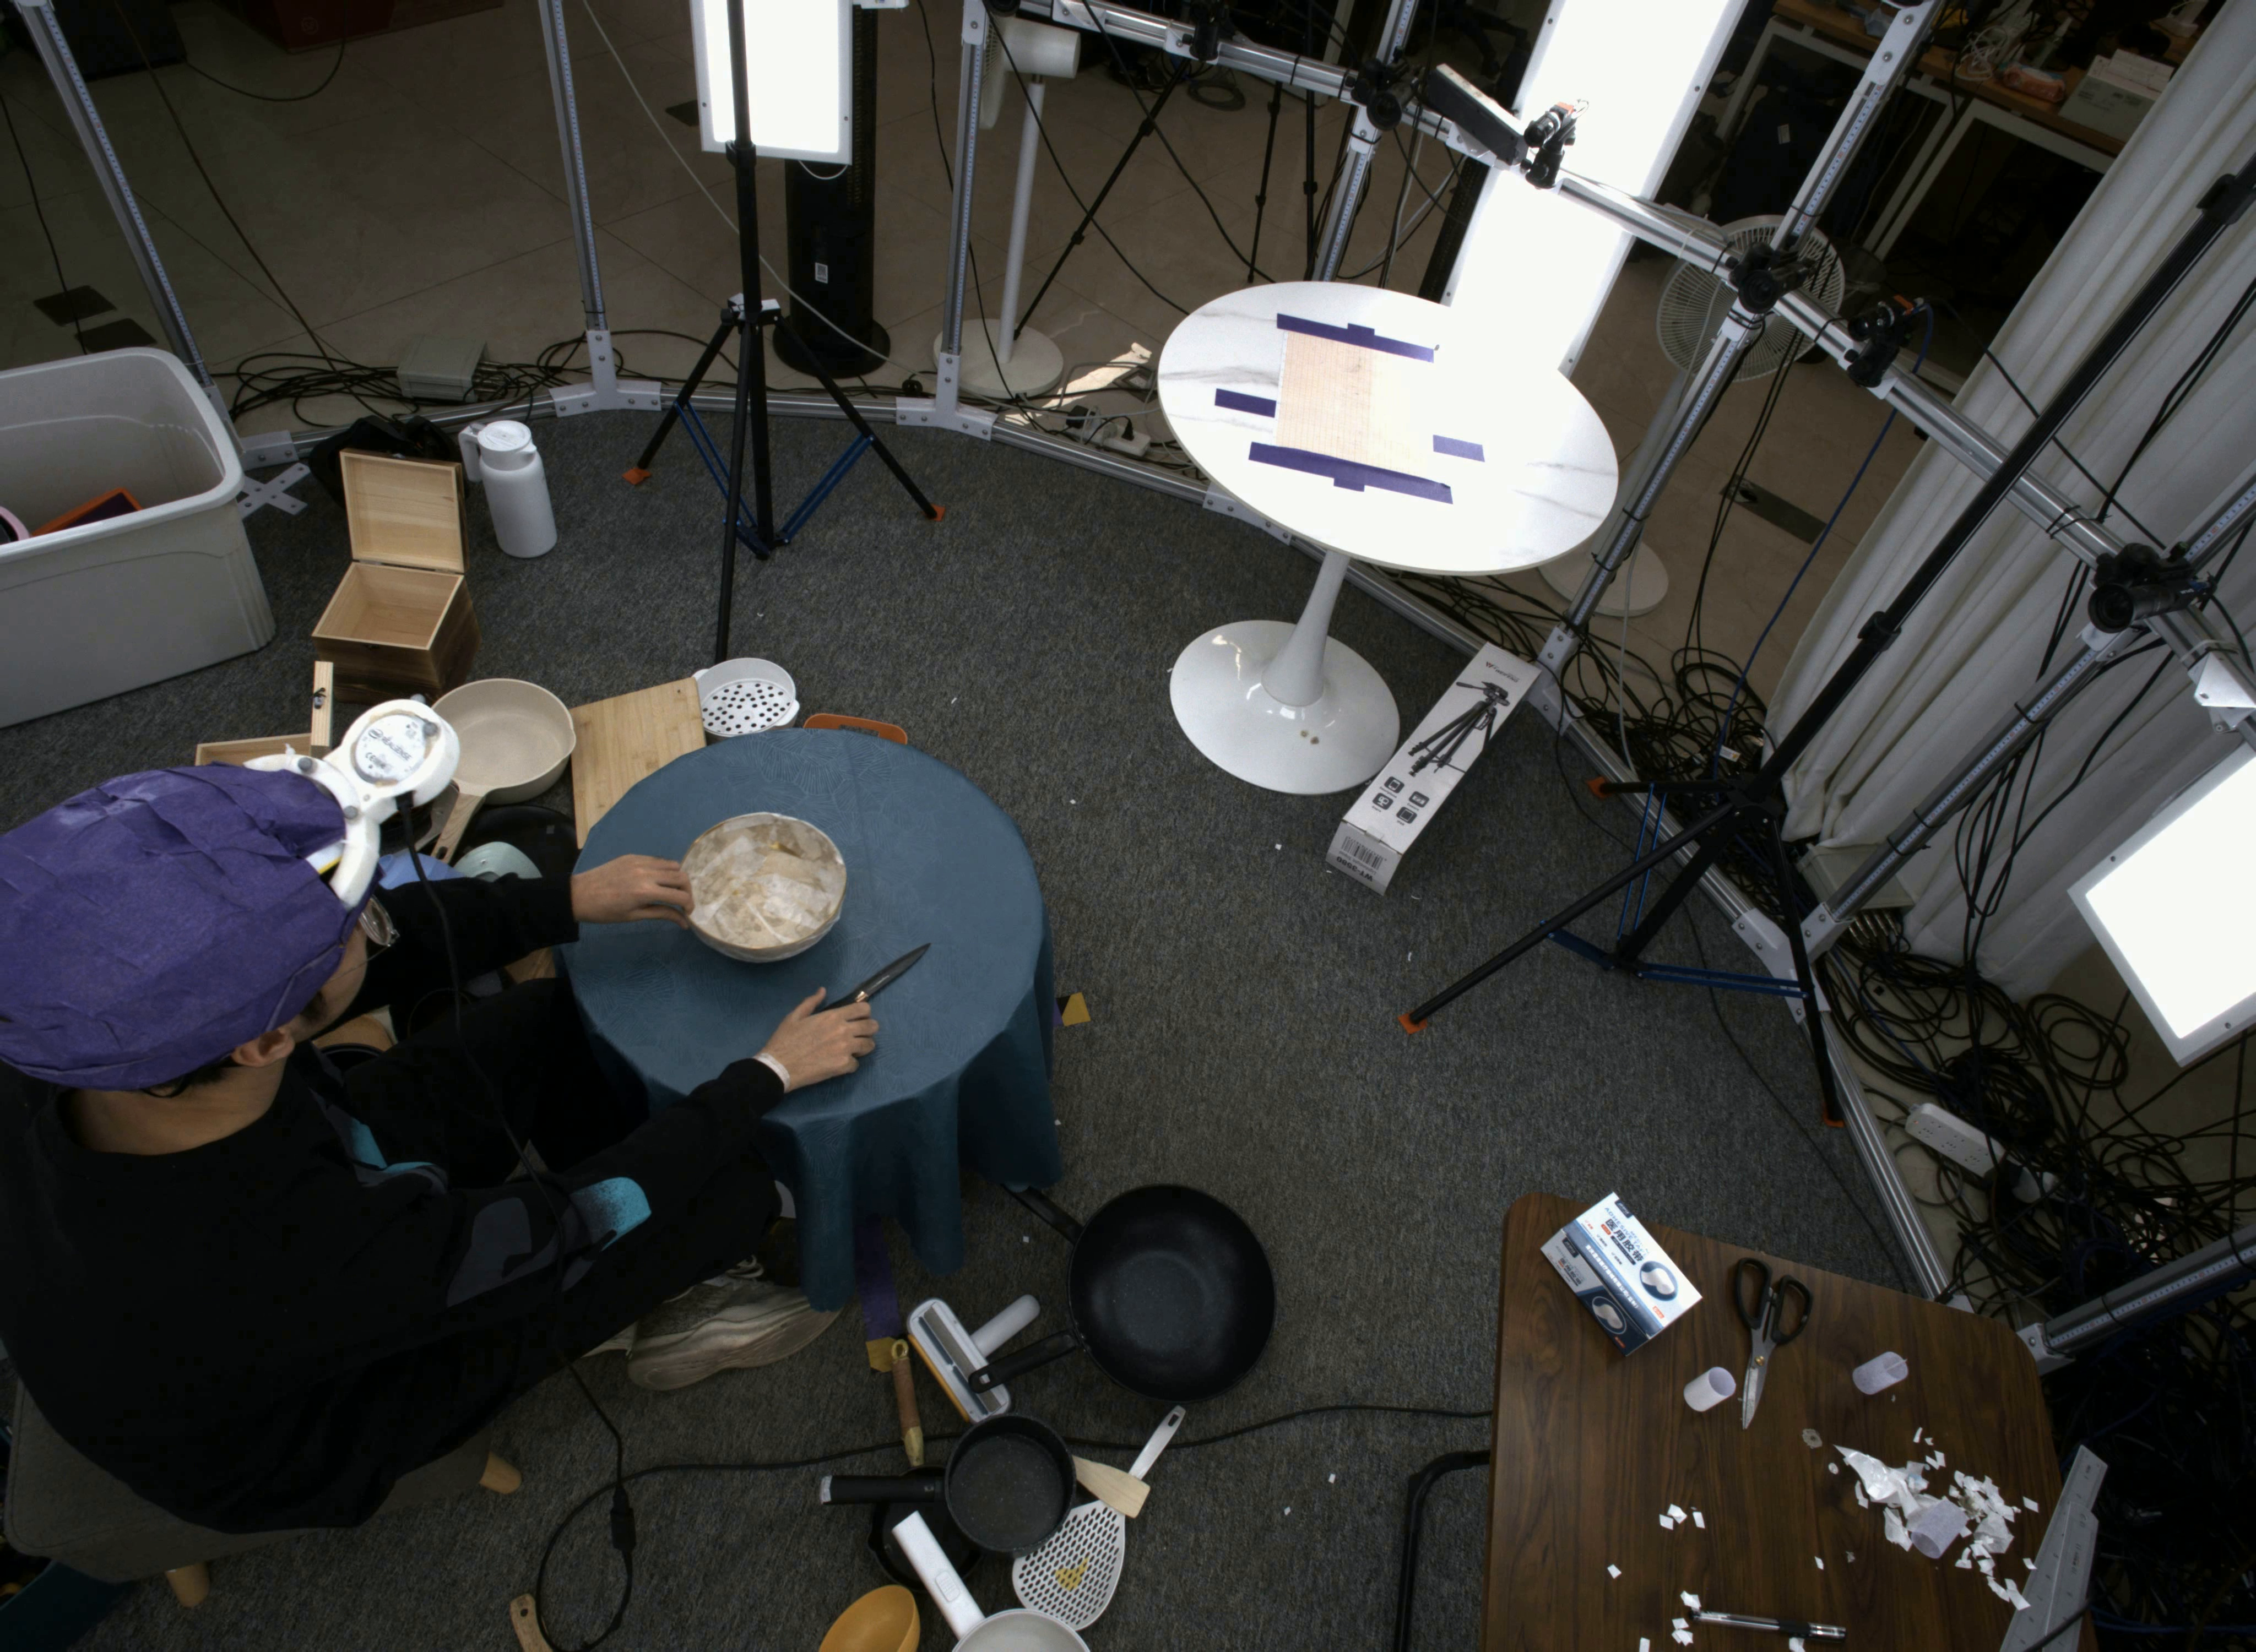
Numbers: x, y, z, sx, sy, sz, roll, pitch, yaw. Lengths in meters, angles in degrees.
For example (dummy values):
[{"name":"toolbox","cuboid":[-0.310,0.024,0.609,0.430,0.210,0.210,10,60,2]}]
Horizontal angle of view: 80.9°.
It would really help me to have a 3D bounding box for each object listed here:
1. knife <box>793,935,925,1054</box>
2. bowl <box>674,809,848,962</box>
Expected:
[{"name":"knife","cuboid":[-0.323,0.200,1.584,0.025,0.018,0.225,32,51,22]},{"name":"bowl","cuboid":[-0.448,0.088,1.579,0.215,0.096,0.211,10,52,-11]}]
